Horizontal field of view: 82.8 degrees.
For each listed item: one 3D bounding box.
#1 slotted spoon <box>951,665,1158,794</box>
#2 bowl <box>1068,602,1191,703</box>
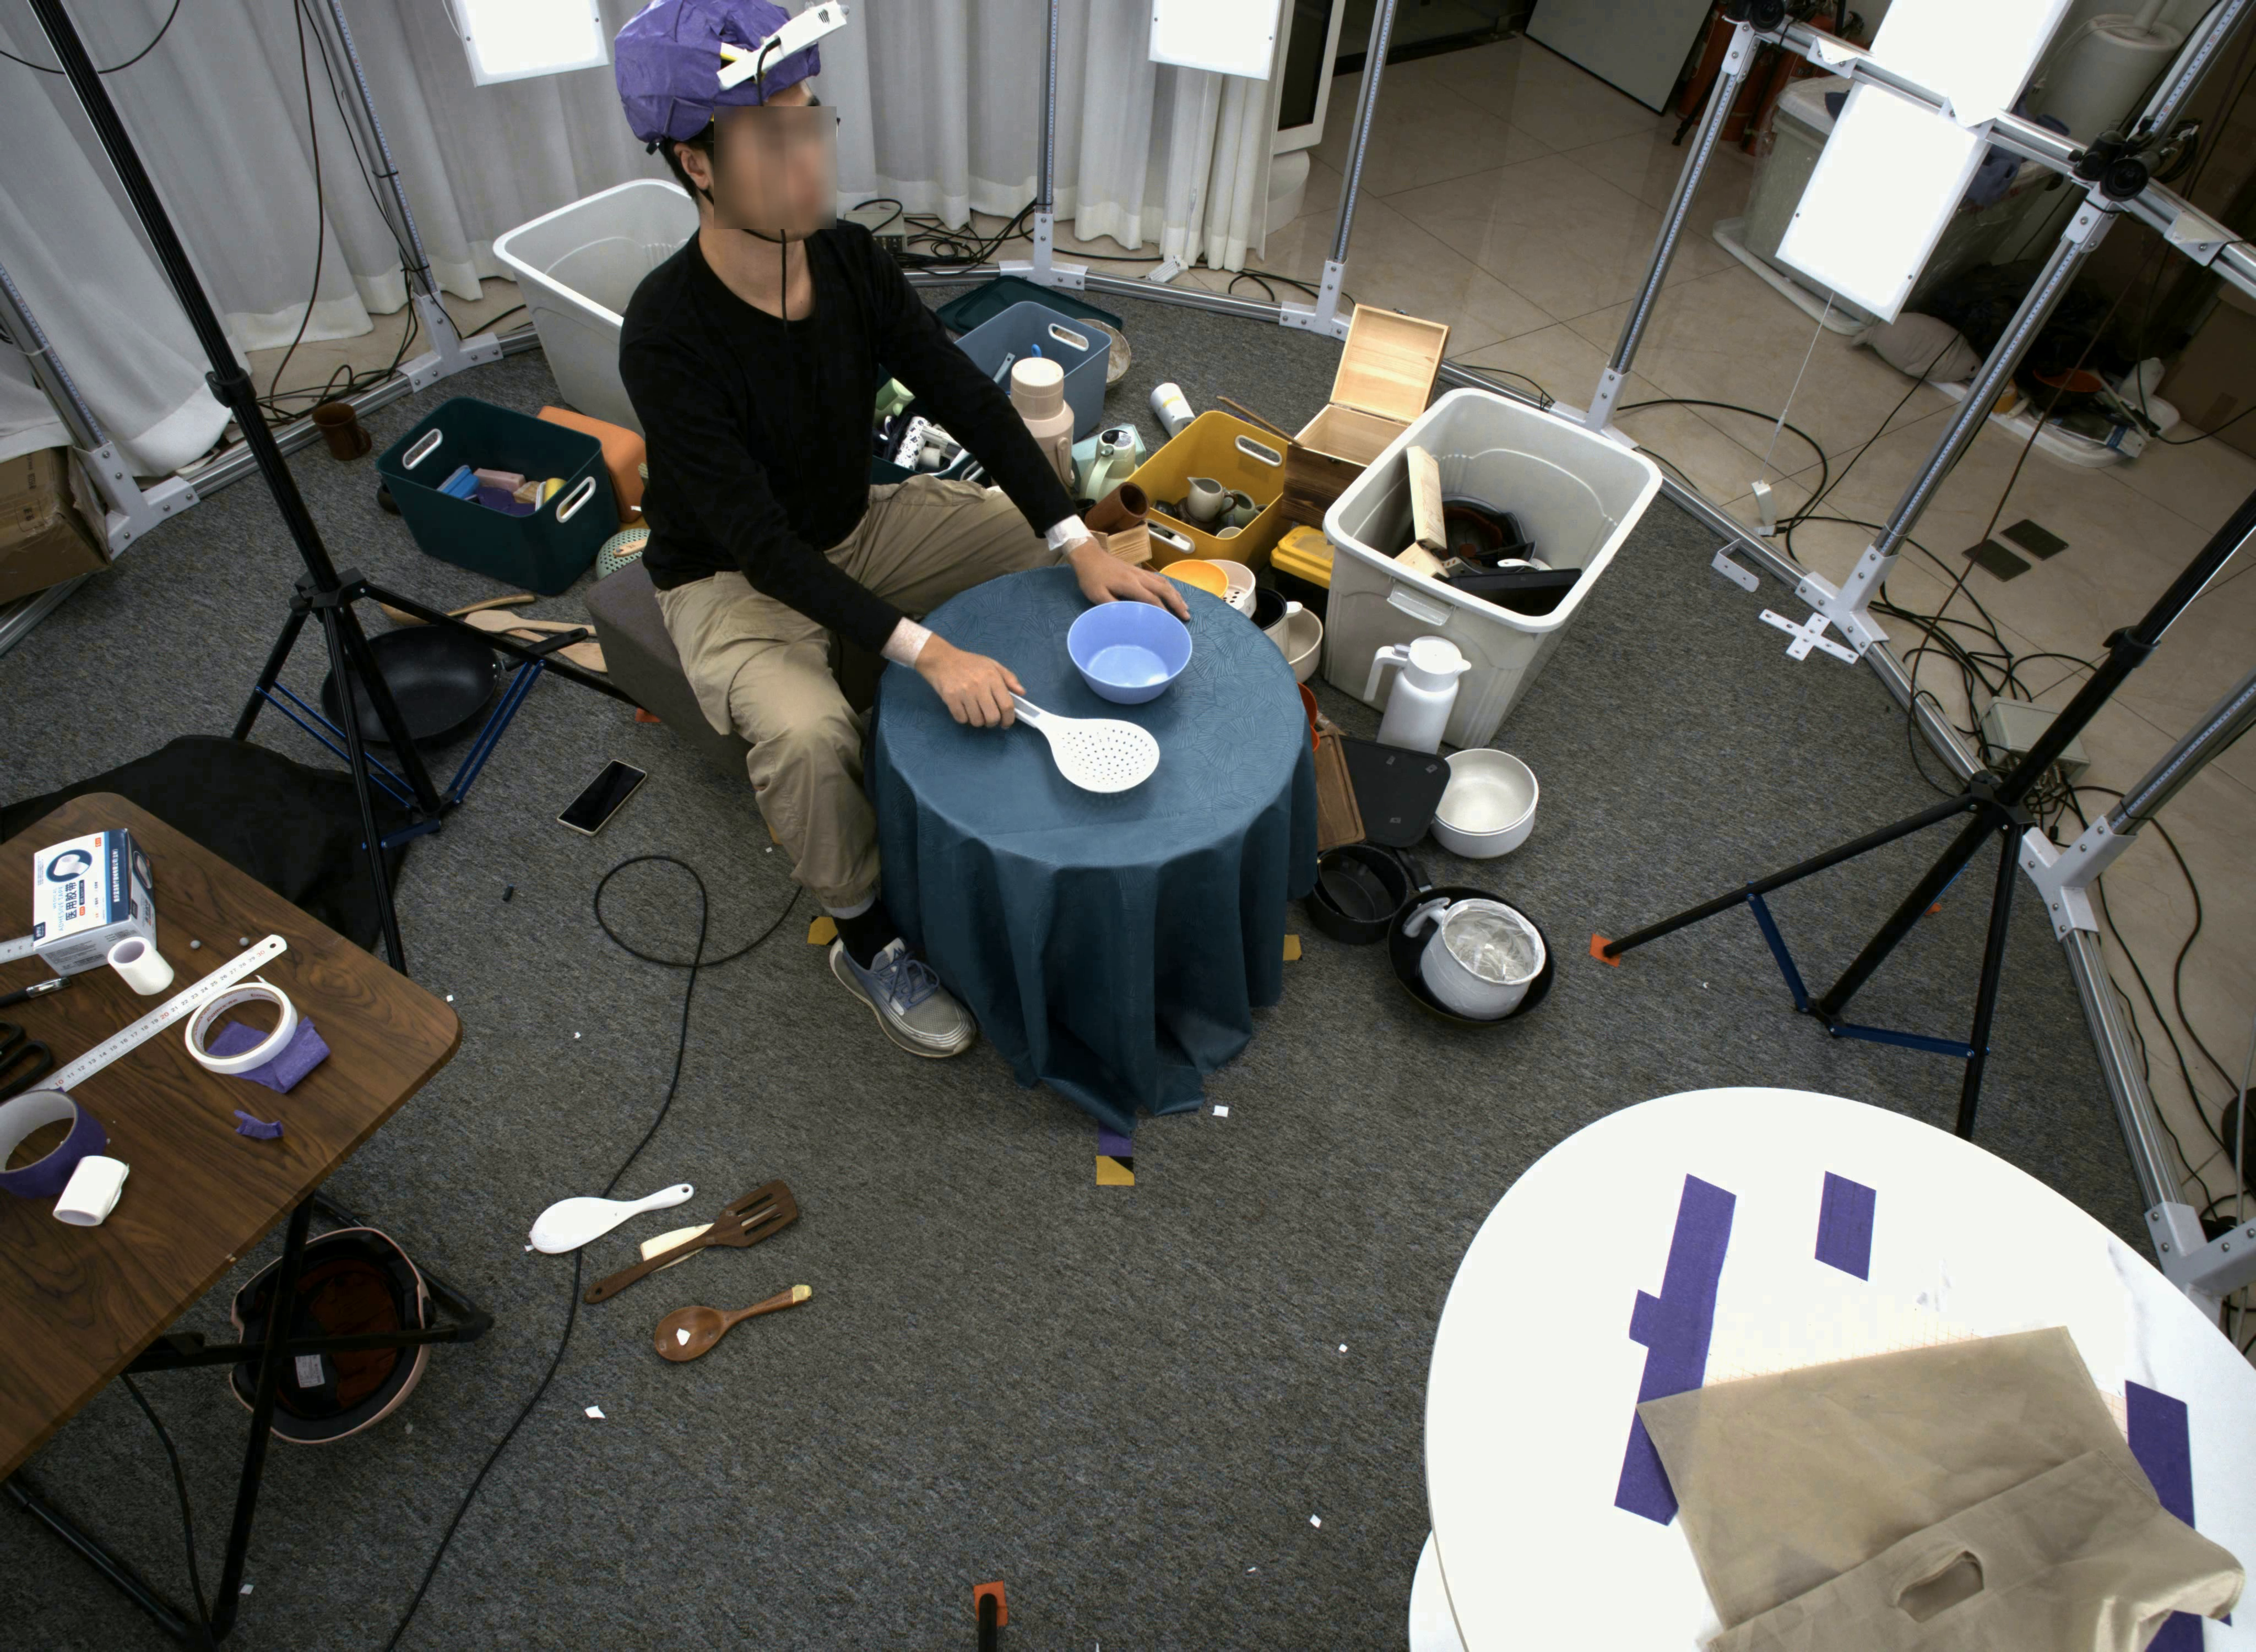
[{"bbox_3d":[-0.111,-0.139,1.754,0.354,0.044,0.137,33,56,24],"label":"slotted spoon"},{"bbox_3d":[0.000,-0.239,1.832,0.176,0.068,0.180,2,48,-2],"label":"bowl"}]
